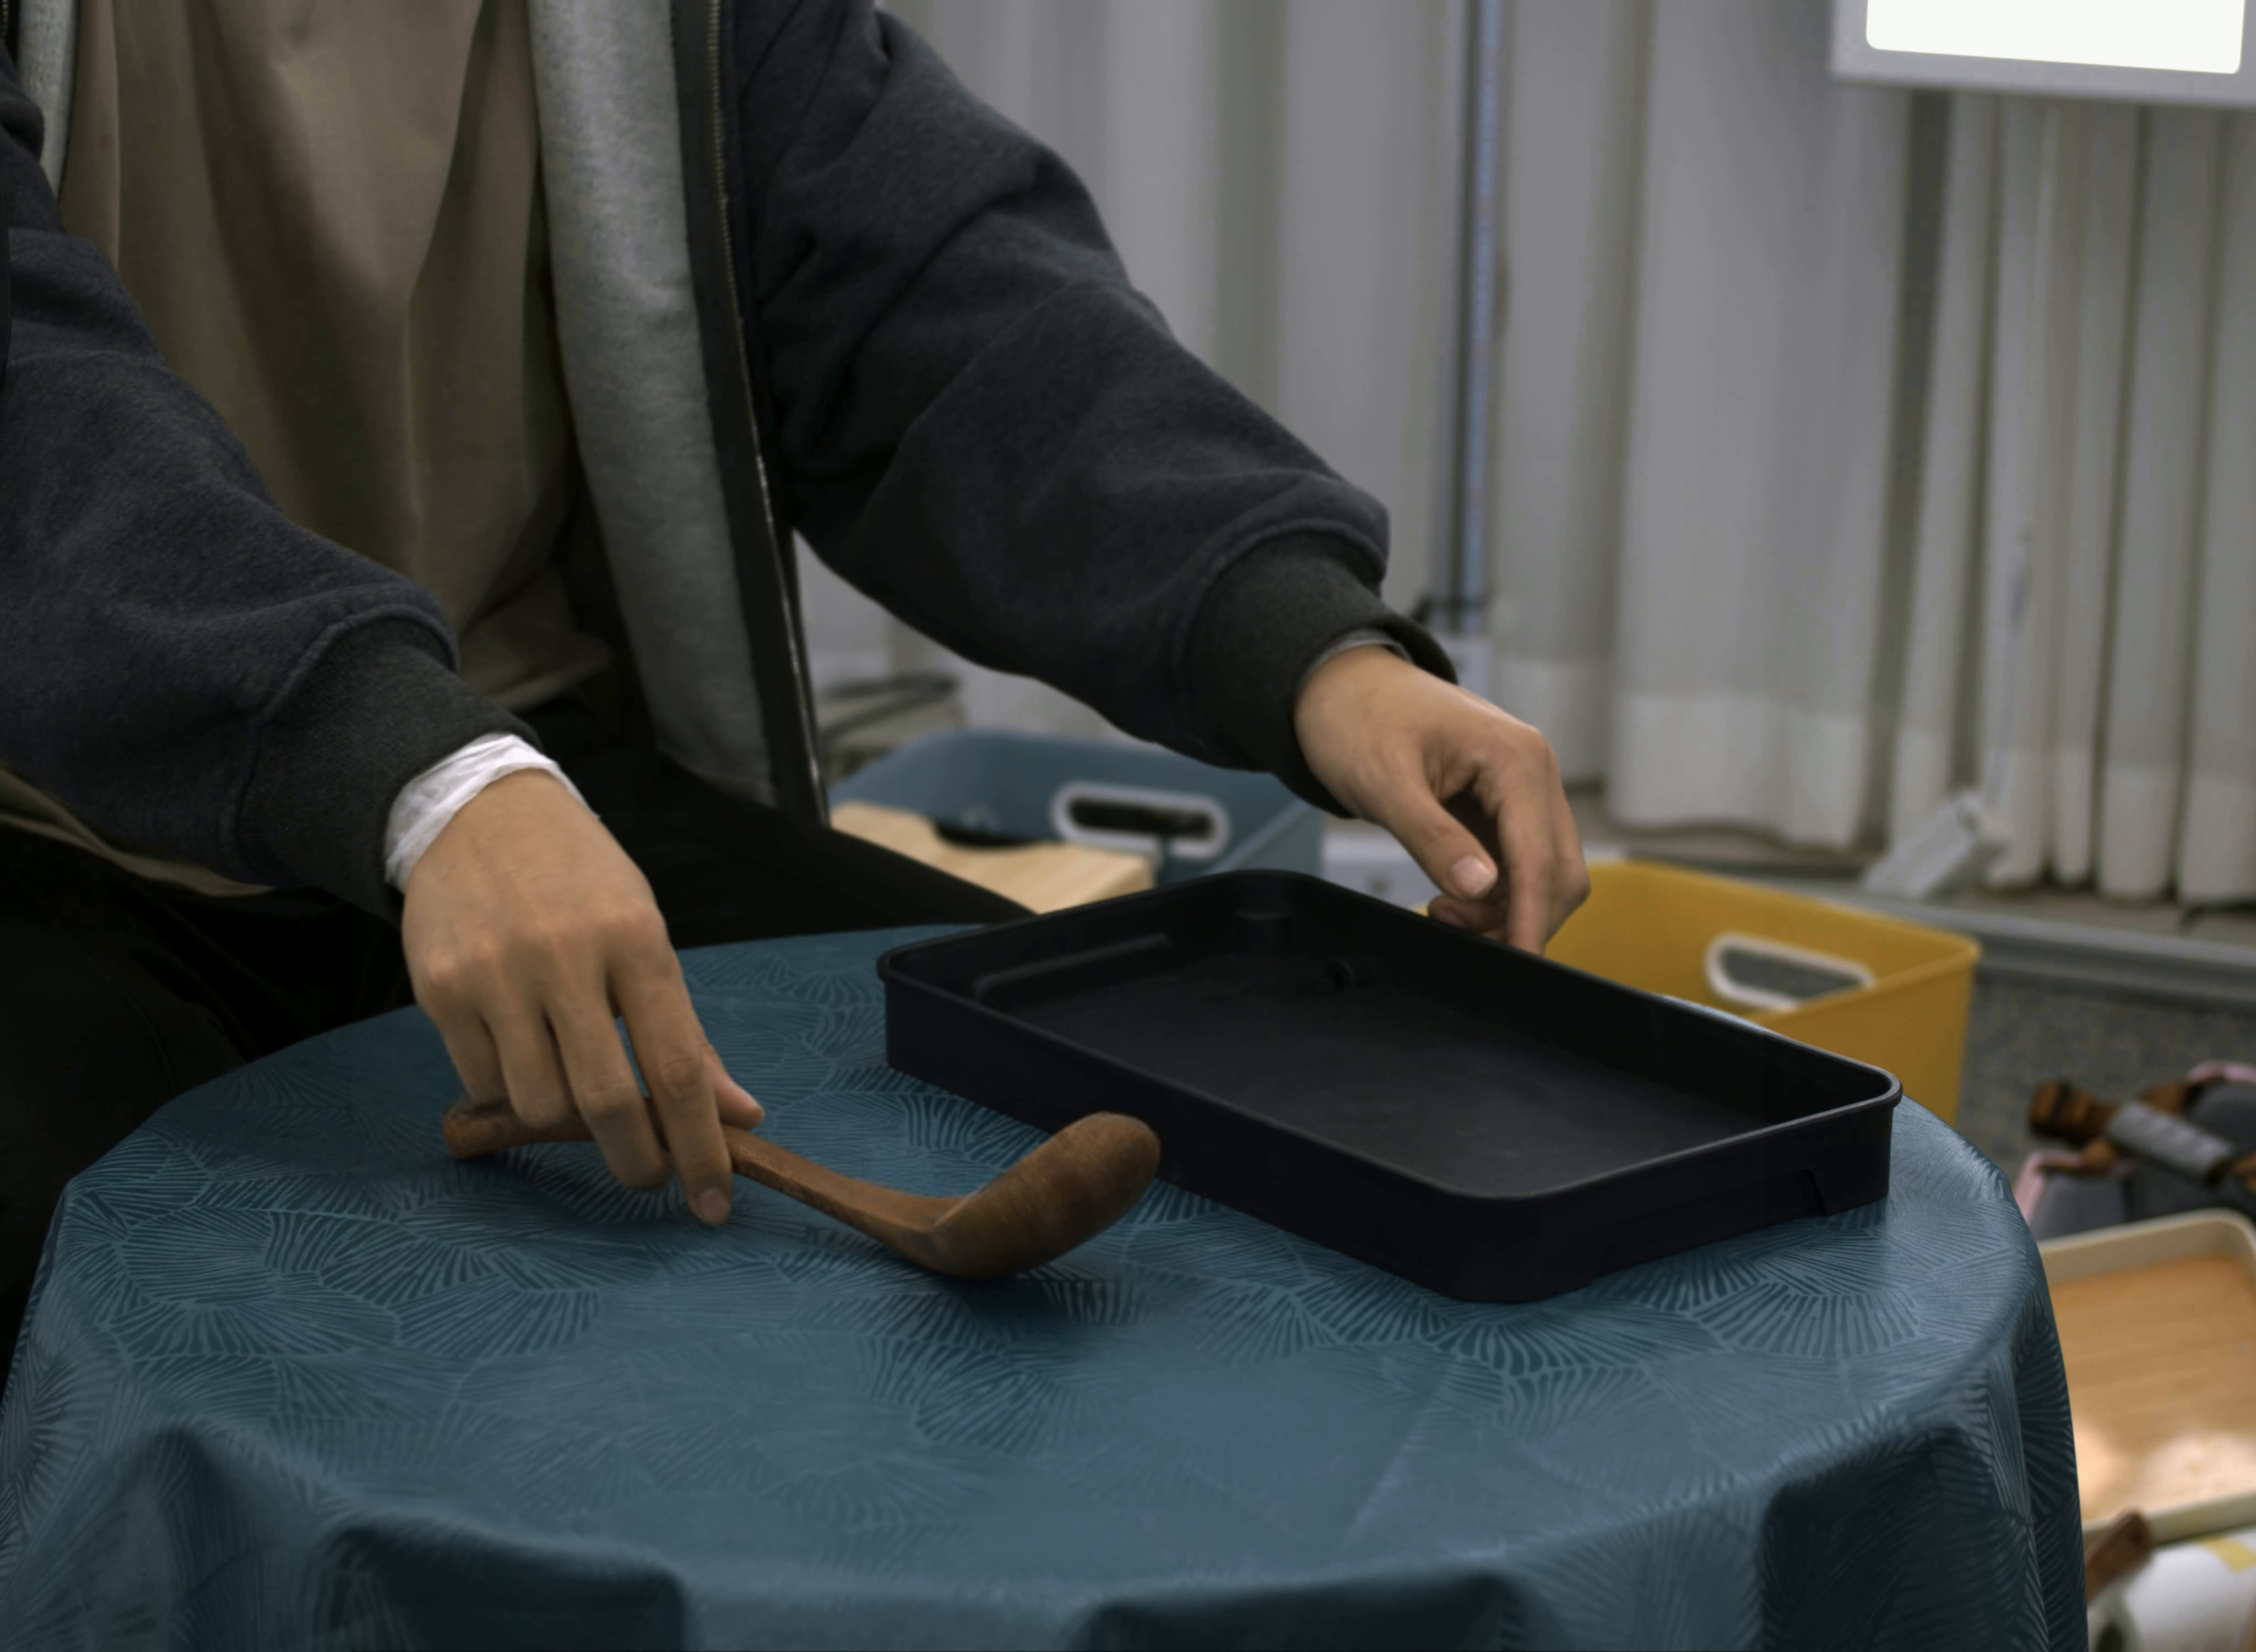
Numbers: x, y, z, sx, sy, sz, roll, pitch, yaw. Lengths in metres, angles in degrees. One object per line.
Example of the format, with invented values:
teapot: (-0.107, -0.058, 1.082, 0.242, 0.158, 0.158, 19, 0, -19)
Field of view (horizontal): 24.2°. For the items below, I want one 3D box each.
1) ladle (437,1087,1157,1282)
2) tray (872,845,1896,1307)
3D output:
ladle: (-0.106, 0.090, 1.577, 0.257, 0.065, 0.077, 10, 19, 32)
tray: (0.076, 0.074, 1.684, 0.185, 0.037, 0.313, -12, 22, -38)
